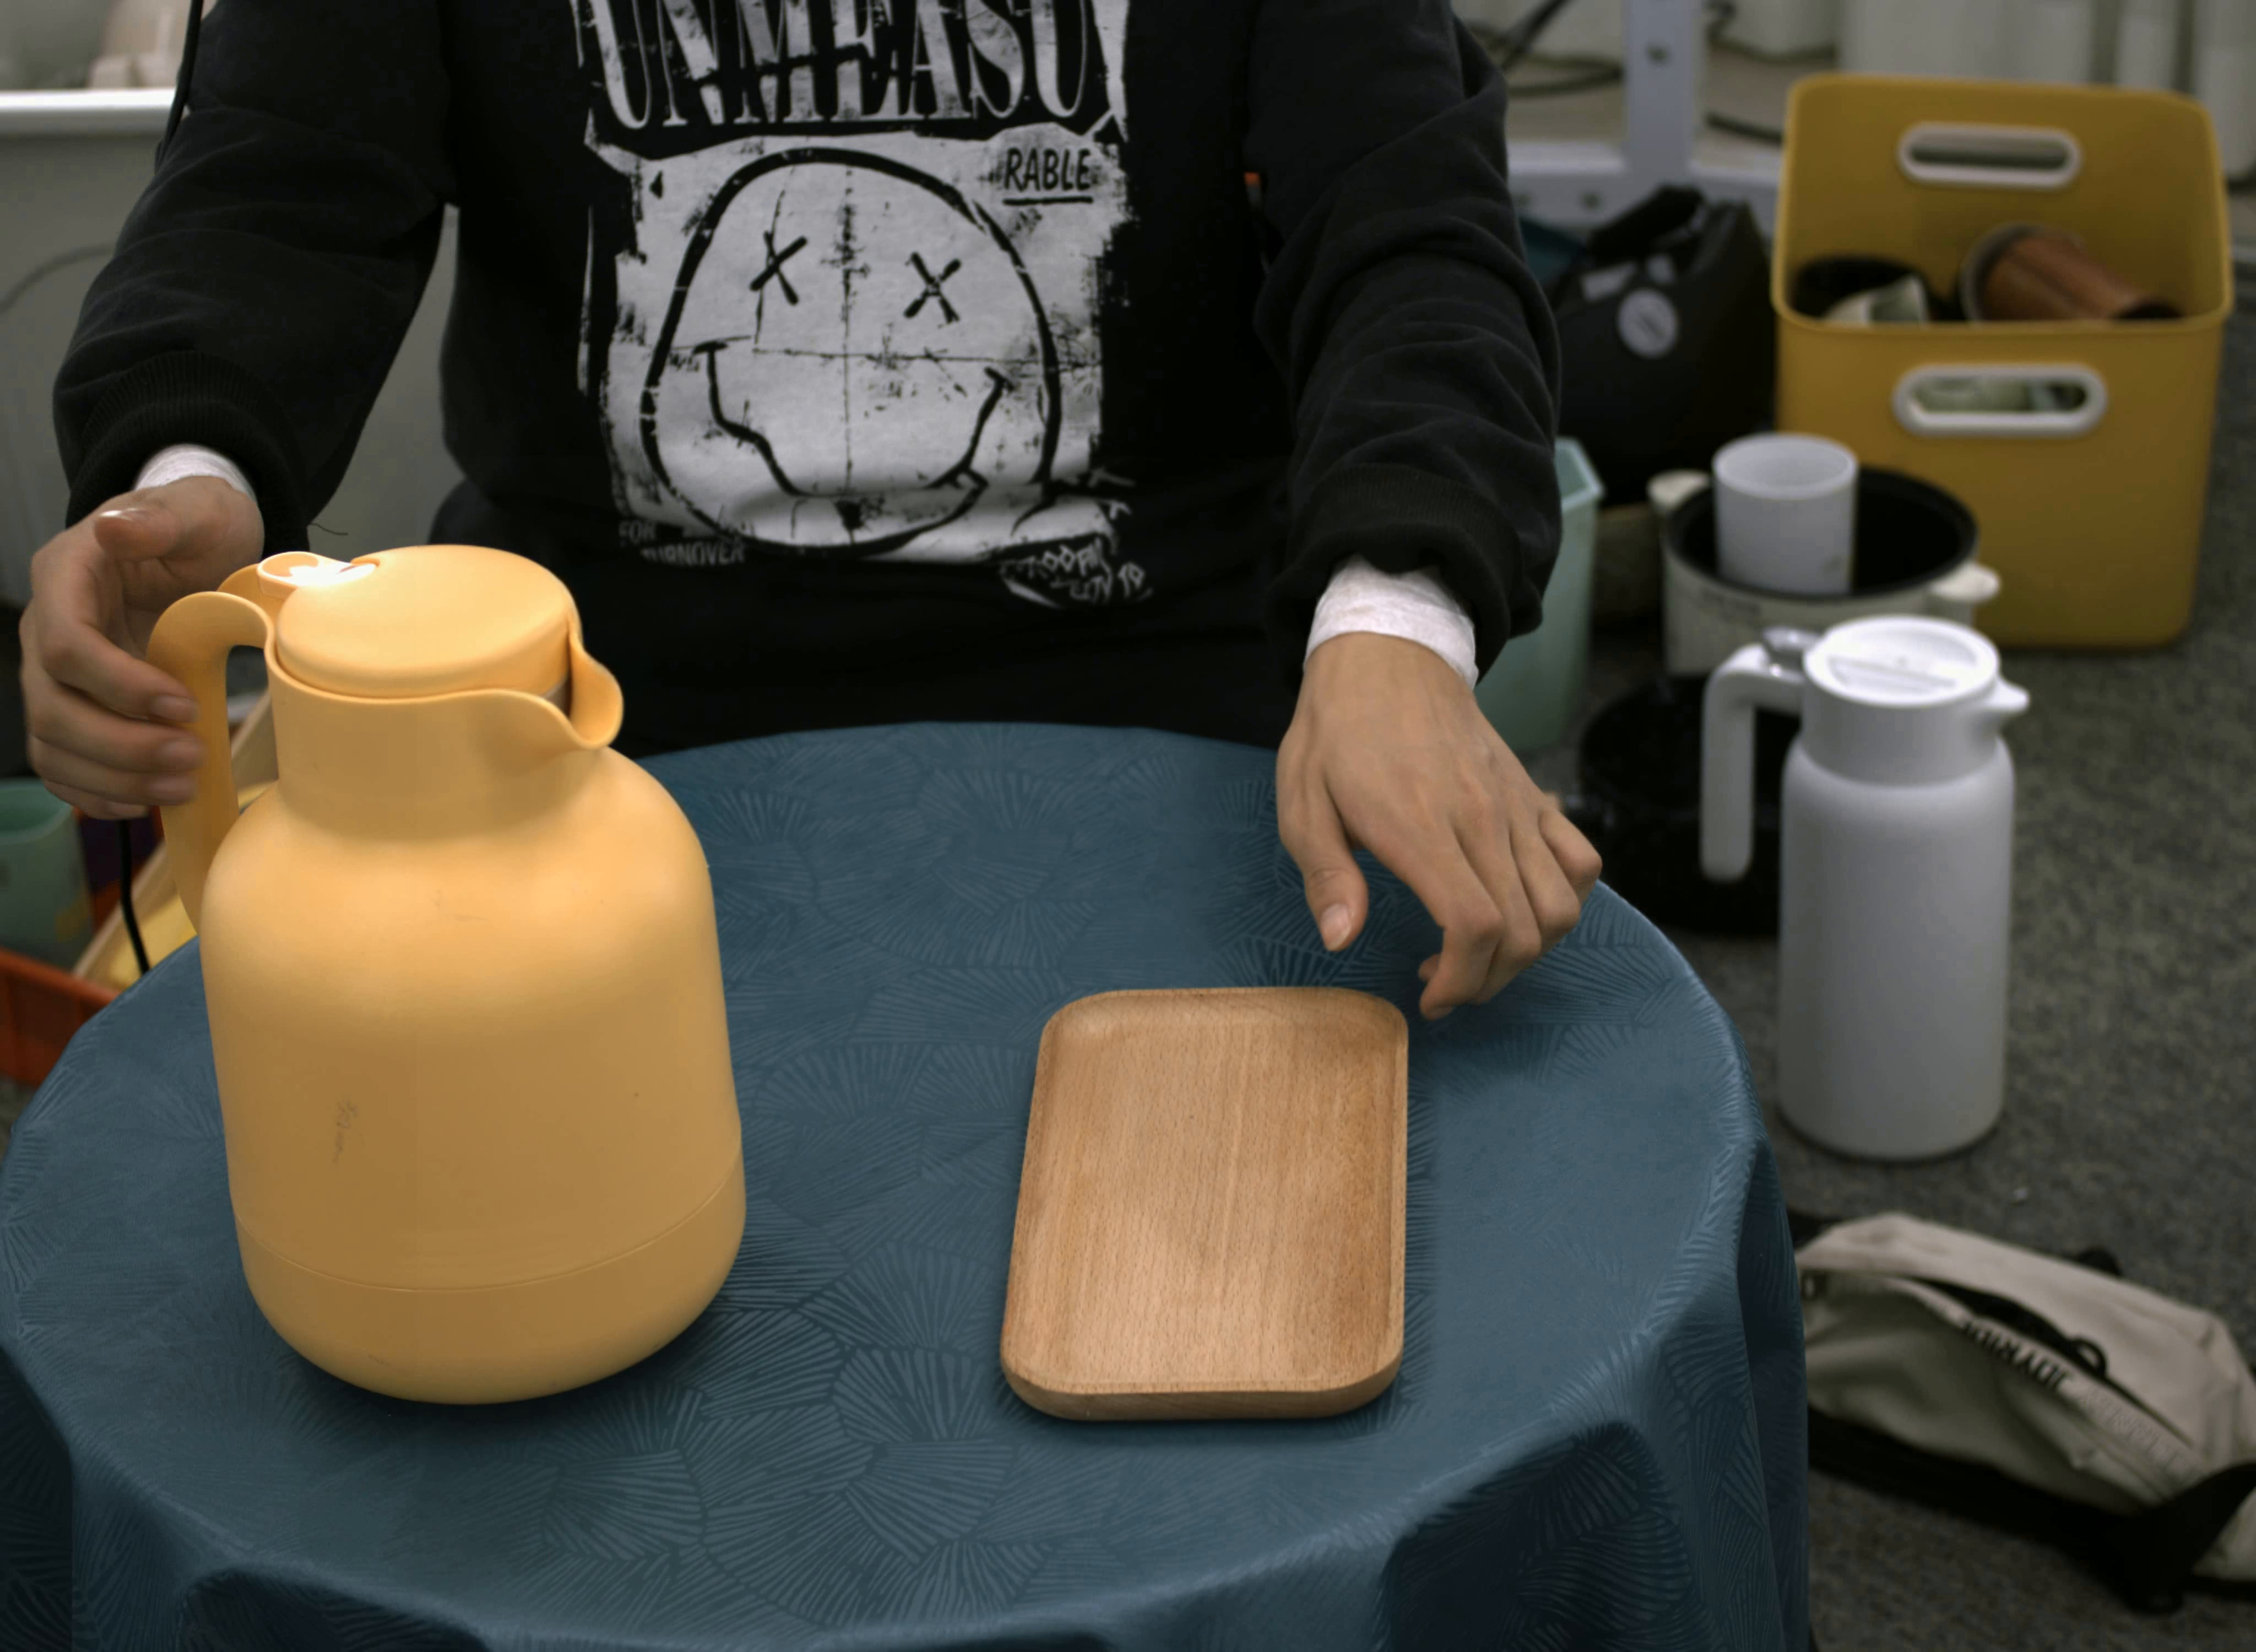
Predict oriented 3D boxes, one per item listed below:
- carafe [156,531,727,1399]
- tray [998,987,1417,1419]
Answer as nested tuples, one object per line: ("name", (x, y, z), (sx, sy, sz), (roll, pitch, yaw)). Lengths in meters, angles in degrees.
("carafe", (-0.224, 0.033, 1.768), (0.202, 0.258, 0.165), (21, 32, 36))
("tray", (0.029, 0.121, 1.840), (0.130, 0.022, 0.254), (2, 27, 4))
